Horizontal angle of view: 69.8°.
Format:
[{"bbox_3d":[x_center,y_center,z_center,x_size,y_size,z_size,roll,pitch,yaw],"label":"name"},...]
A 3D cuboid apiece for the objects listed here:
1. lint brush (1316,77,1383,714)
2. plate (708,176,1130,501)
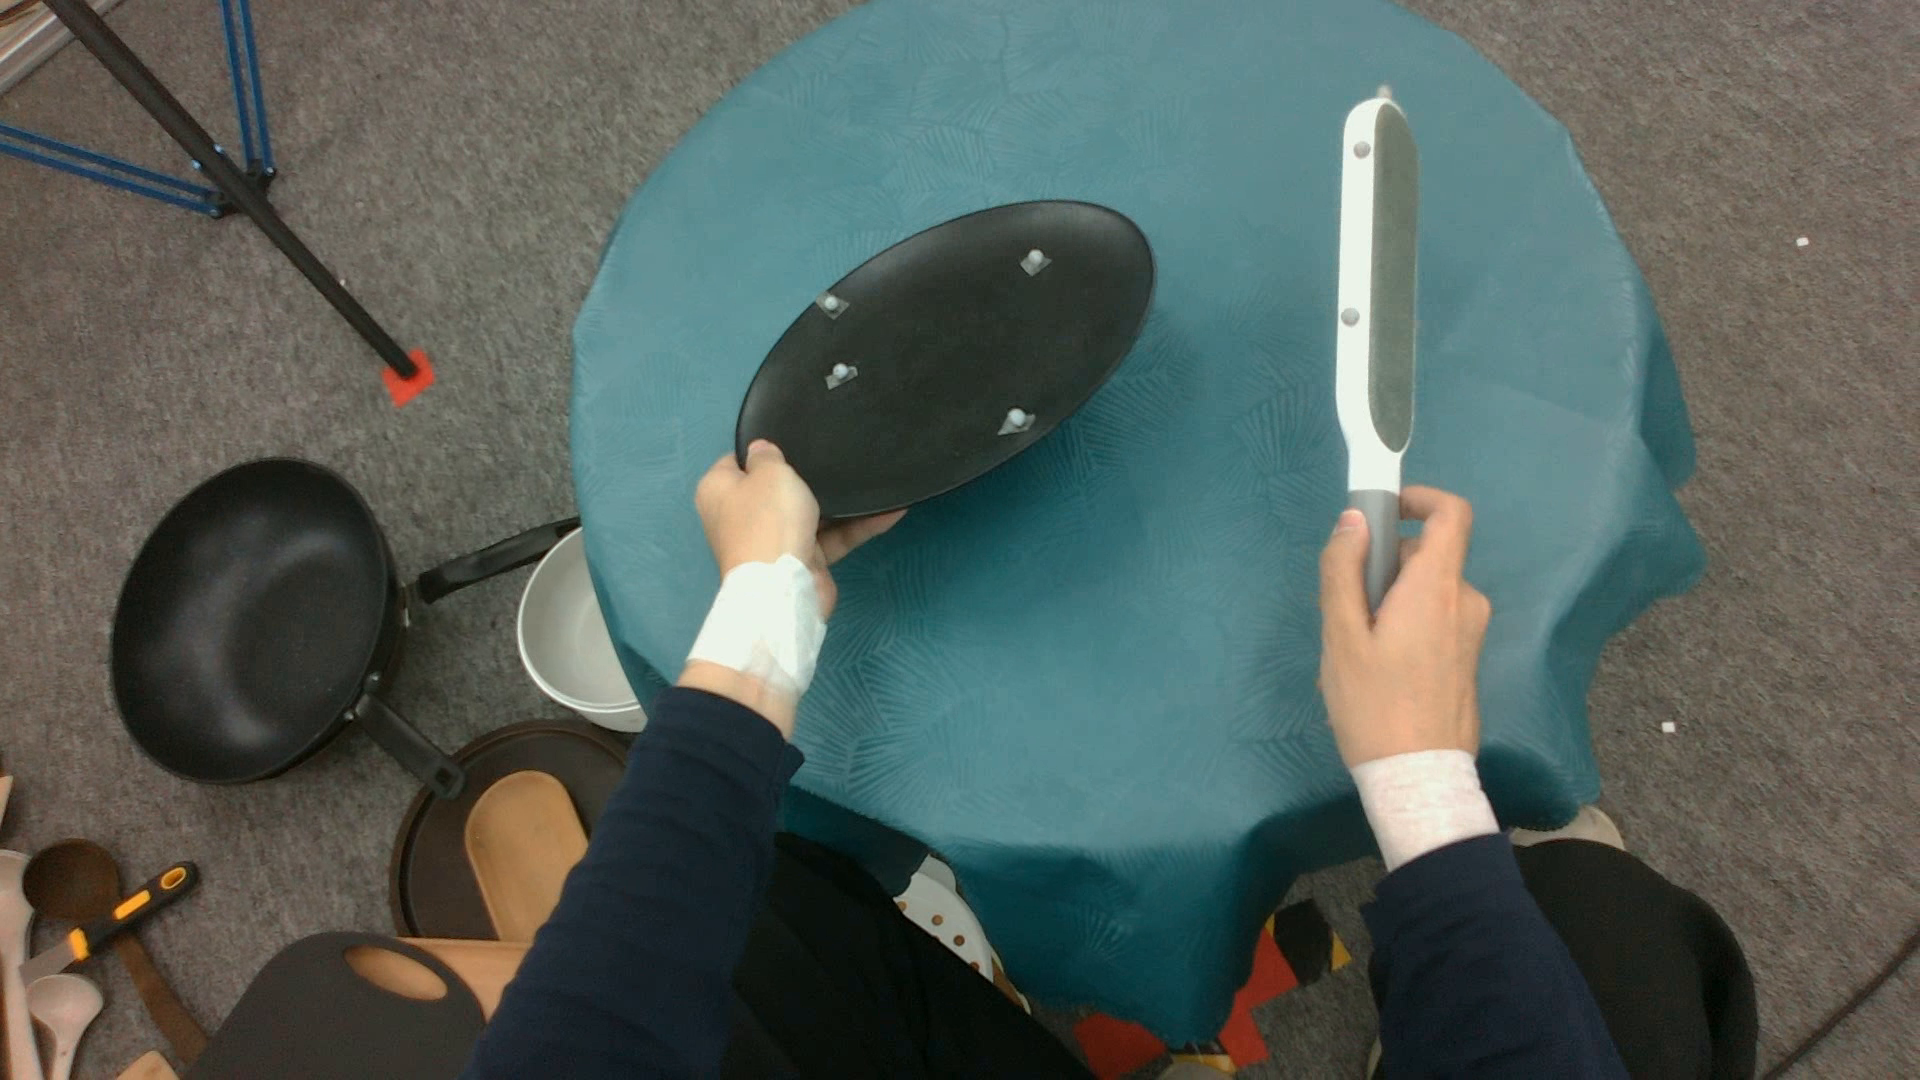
[{"bbox_3d":[0.183,-0.073,0.647,0.021,0.060,0.309,-3,77,32],"label":"lint brush"},{"bbox_3d":[-0.022,-0.106,0.719,0.244,0.023,0.245,-19,41,17],"label":"plate"}]
